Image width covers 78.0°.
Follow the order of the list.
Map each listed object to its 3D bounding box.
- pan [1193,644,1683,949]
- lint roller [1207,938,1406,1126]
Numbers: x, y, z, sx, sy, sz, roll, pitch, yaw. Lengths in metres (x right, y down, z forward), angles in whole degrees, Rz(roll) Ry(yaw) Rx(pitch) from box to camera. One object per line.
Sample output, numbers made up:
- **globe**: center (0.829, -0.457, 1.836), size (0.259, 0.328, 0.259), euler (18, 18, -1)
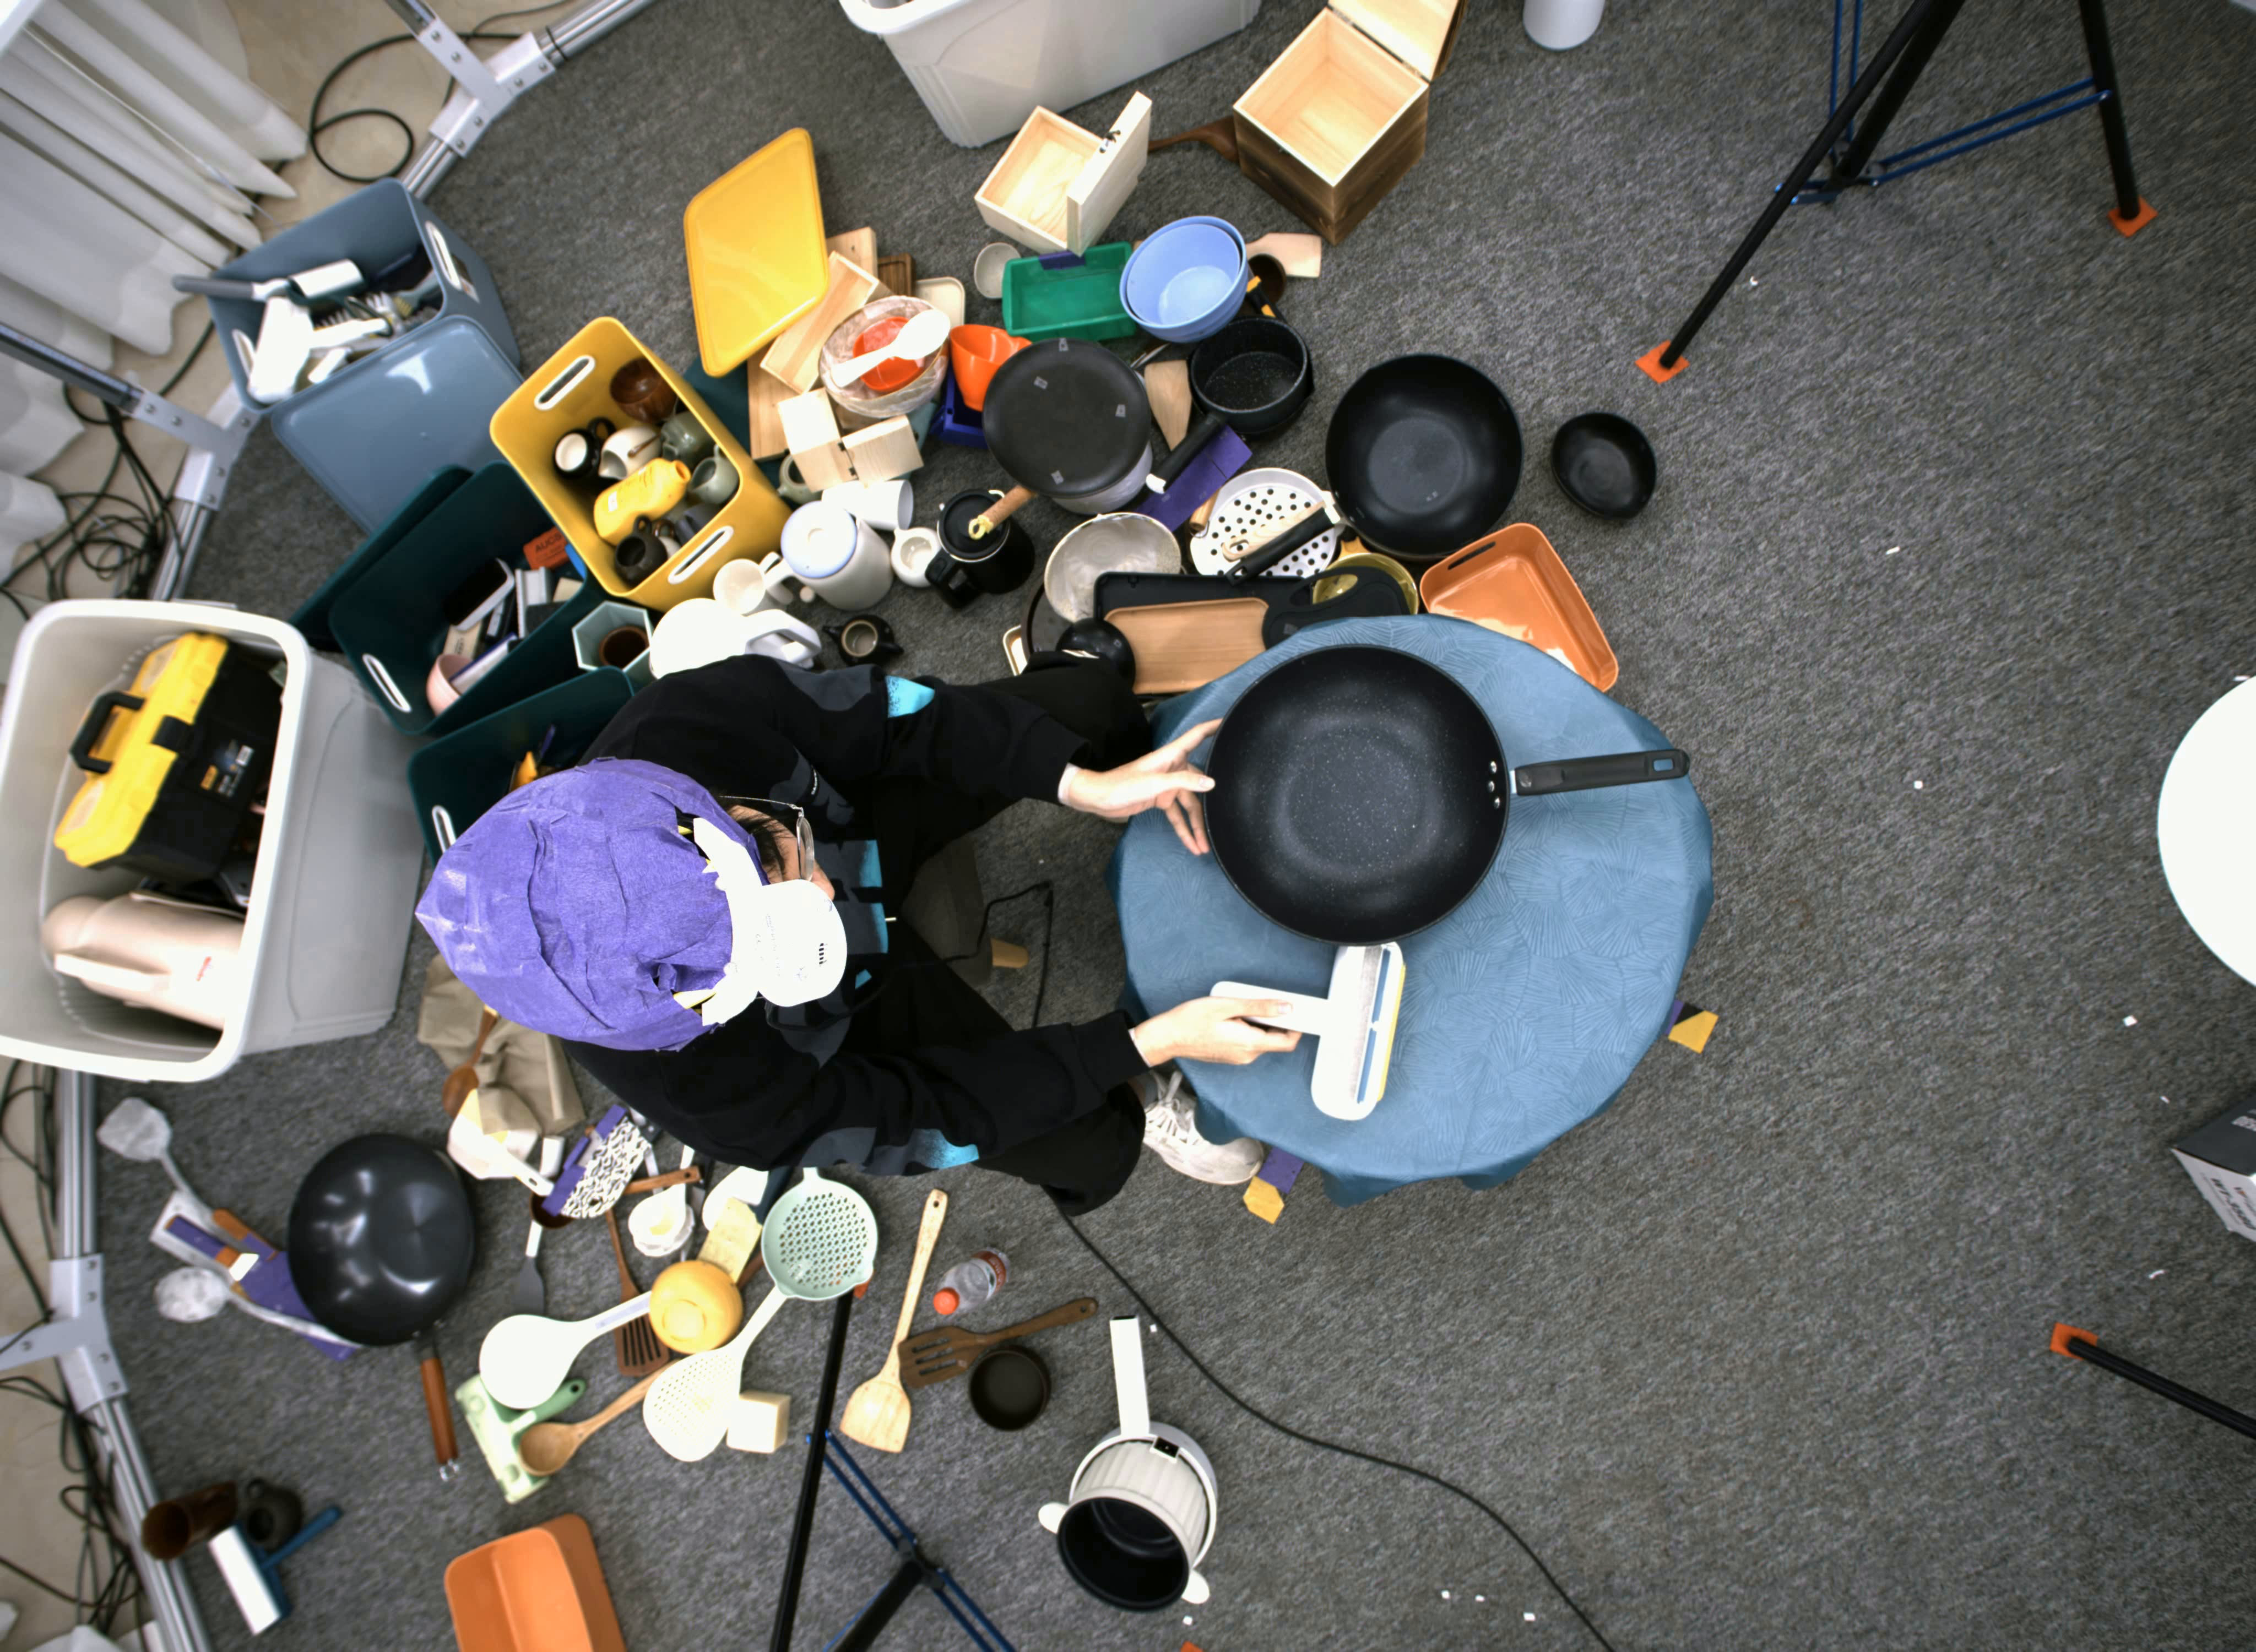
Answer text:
- **pan**: center (0.306, -0.037, 1.400), size (0.479, 0.111, 0.309), euler (-5, 88, 10)
- **lint roller**: center (0.175, 0.194, 1.424), size (0.192, 0.074, 0.191), euler (16, 84, 3)
